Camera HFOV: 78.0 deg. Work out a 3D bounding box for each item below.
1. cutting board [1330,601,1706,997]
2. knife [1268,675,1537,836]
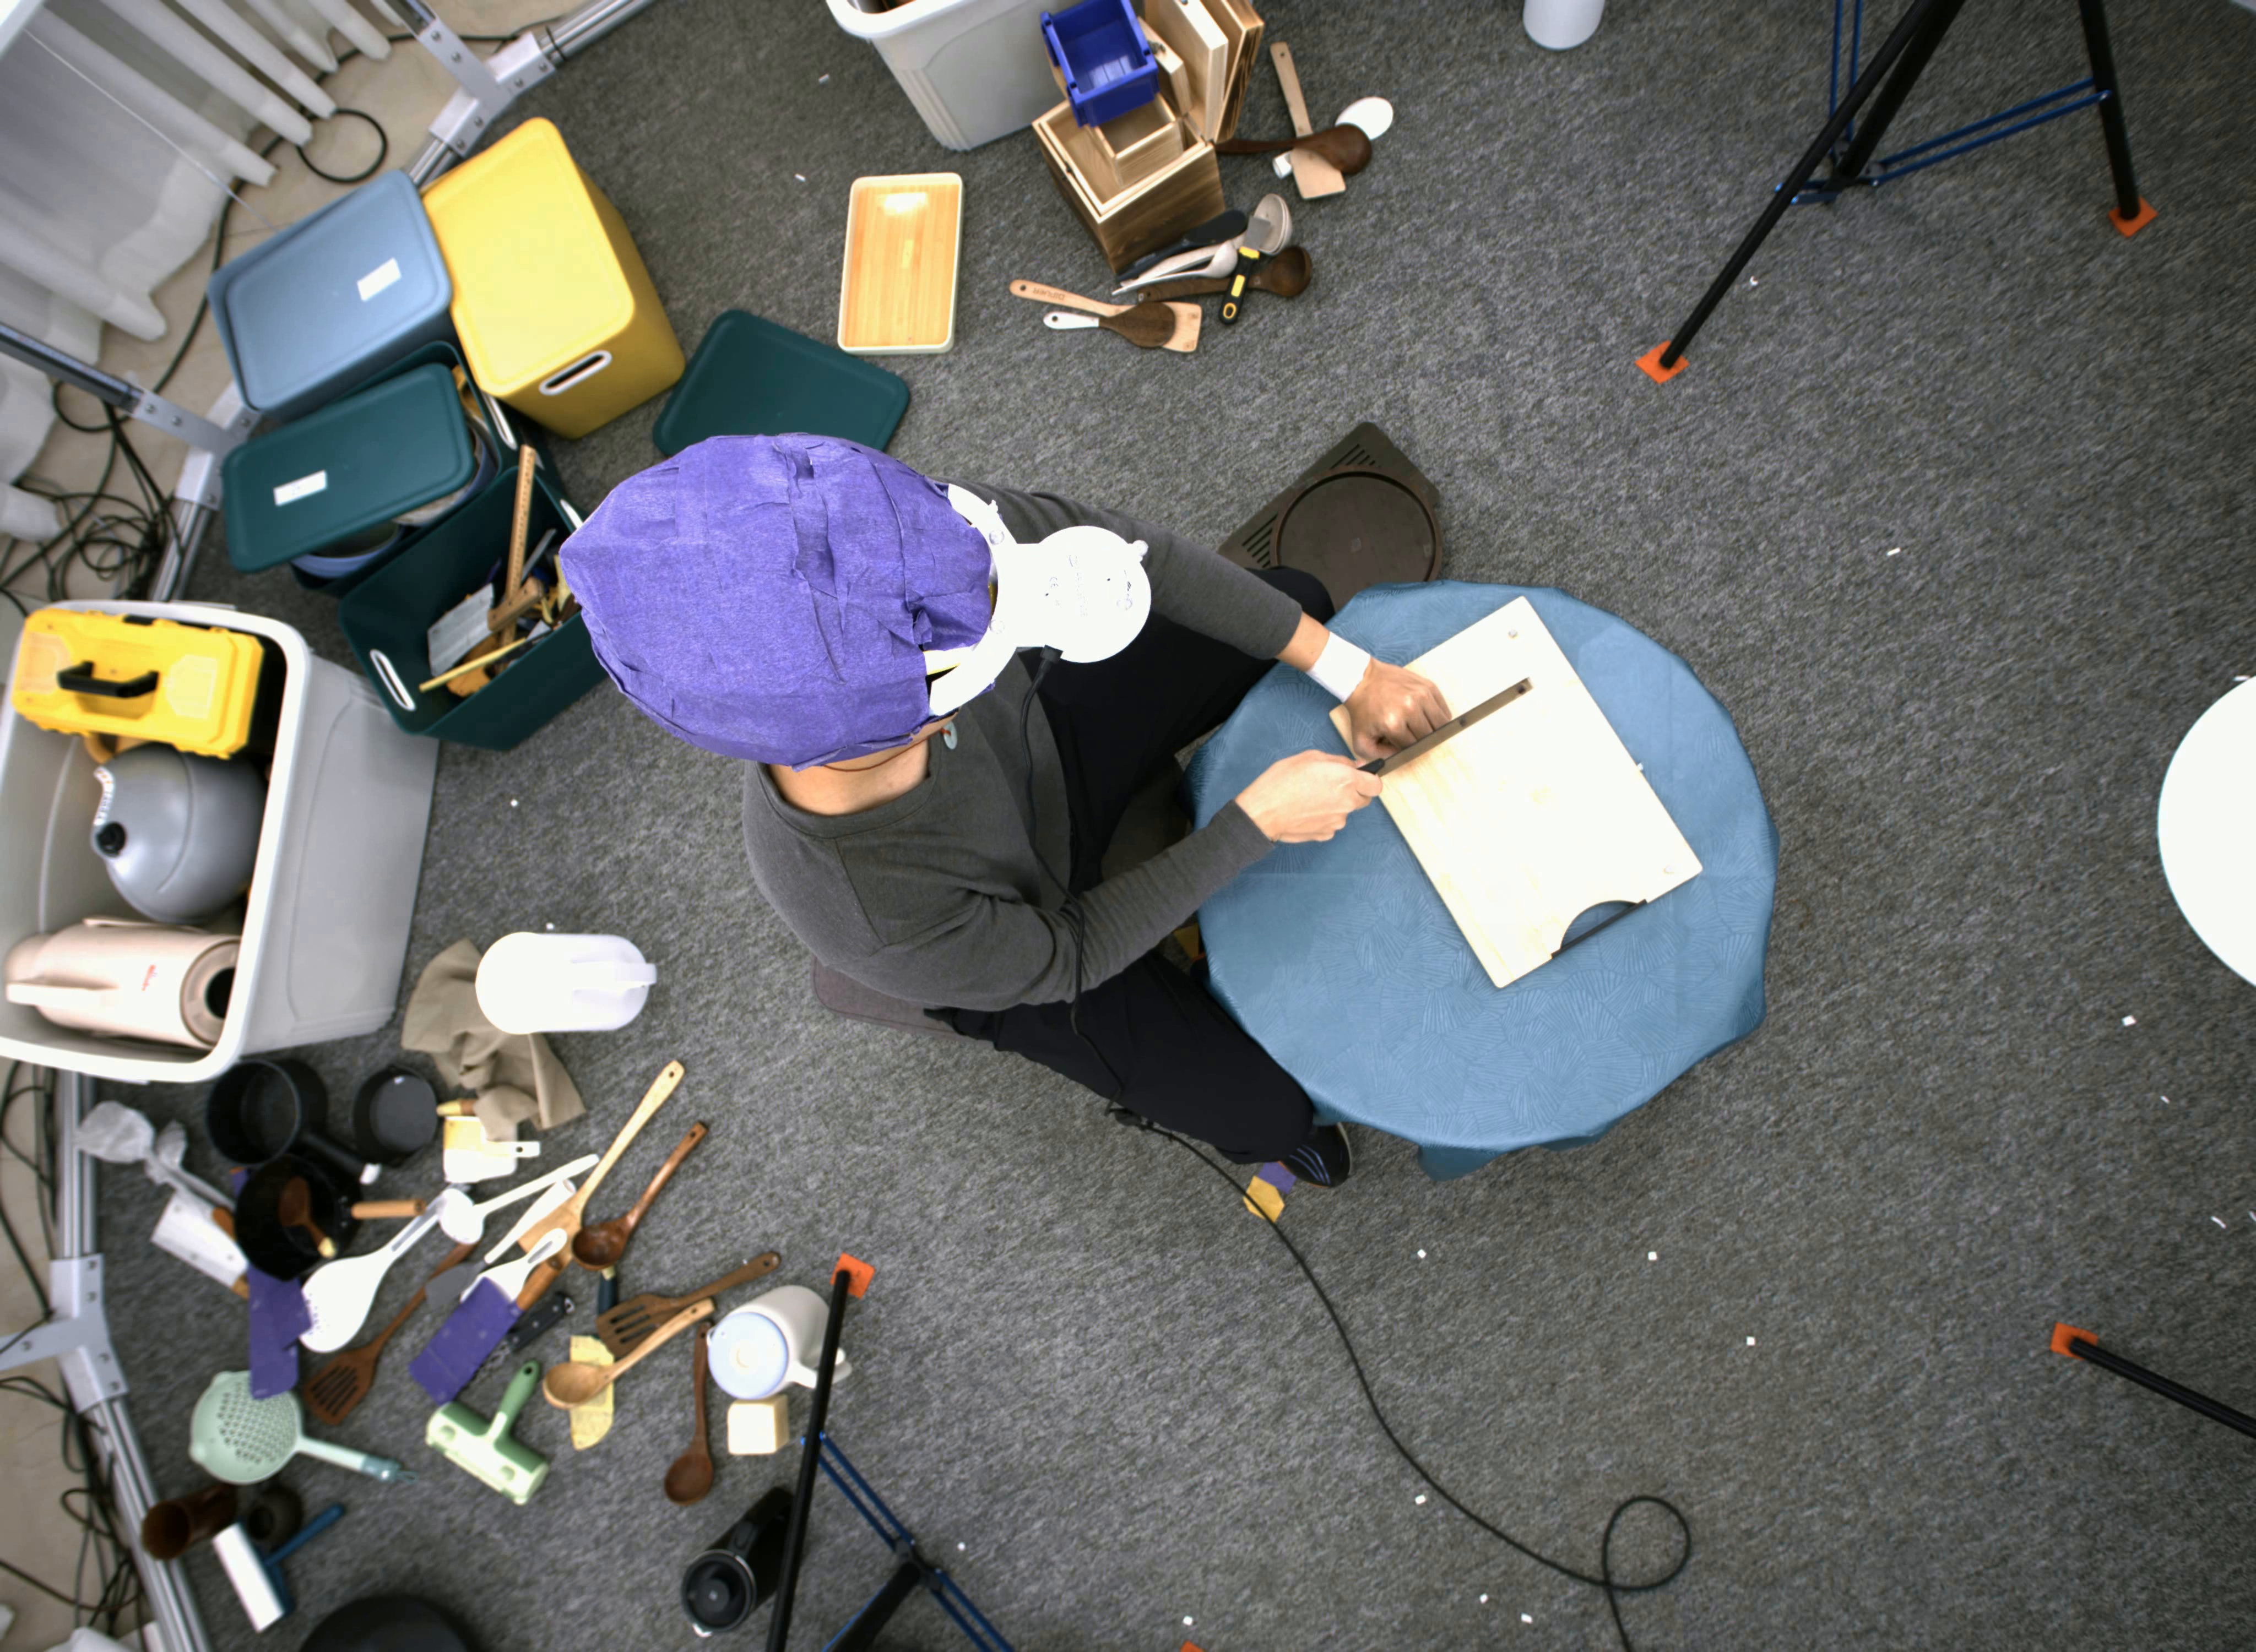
[{"bbox_3d":[0.402,-0.035,1.433,0.252,0.023,0.346,-32,81,8],"label":"cutting board"},{"bbox_3d":[0.273,-0.071,1.368,0.304,0.081,0.020,-29,75,6],"label":"knife"}]
